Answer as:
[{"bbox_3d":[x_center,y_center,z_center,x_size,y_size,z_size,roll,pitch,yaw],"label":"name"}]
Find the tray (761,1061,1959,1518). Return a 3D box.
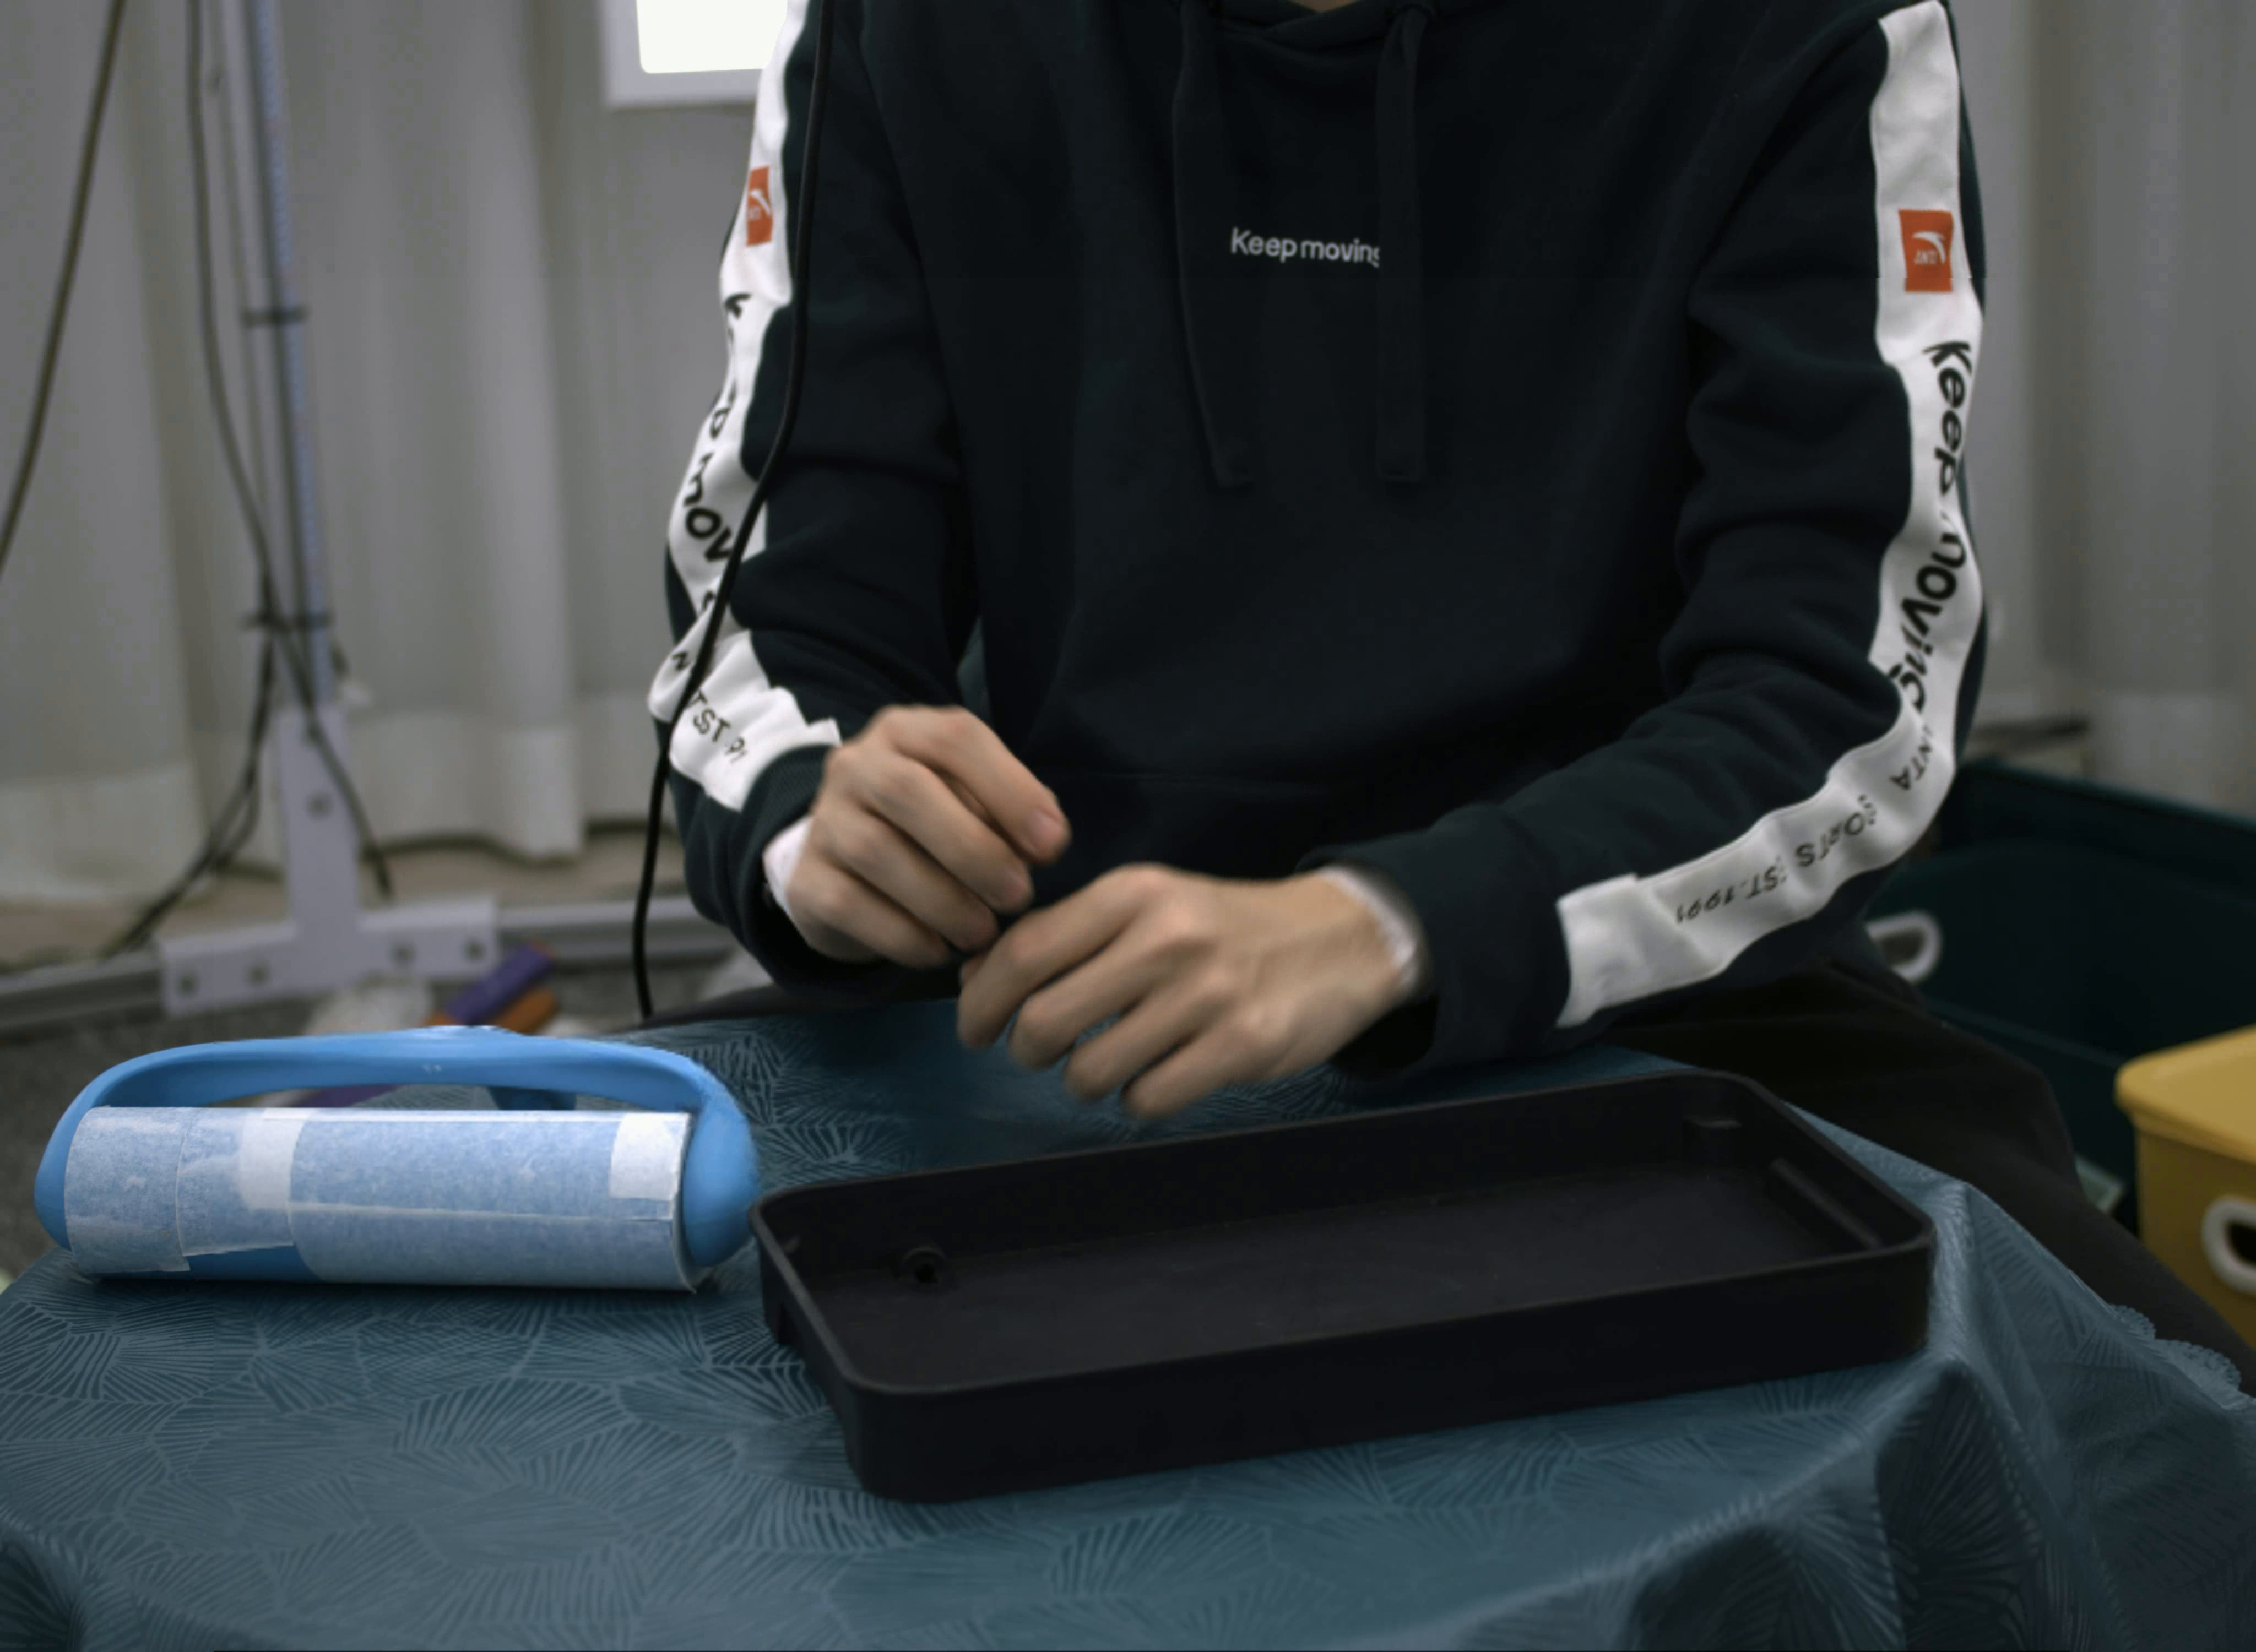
[{"bbox_3d":[0.064,0.130,1.580,0.316,0.037,0.186,-8,15,-14],"label":"tray"}]

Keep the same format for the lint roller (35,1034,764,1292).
[{"bbox_3d":[-0.213,0.096,1.717,0.228,0.067,0.181,-3,16,10],"label":"lint roller"}]
